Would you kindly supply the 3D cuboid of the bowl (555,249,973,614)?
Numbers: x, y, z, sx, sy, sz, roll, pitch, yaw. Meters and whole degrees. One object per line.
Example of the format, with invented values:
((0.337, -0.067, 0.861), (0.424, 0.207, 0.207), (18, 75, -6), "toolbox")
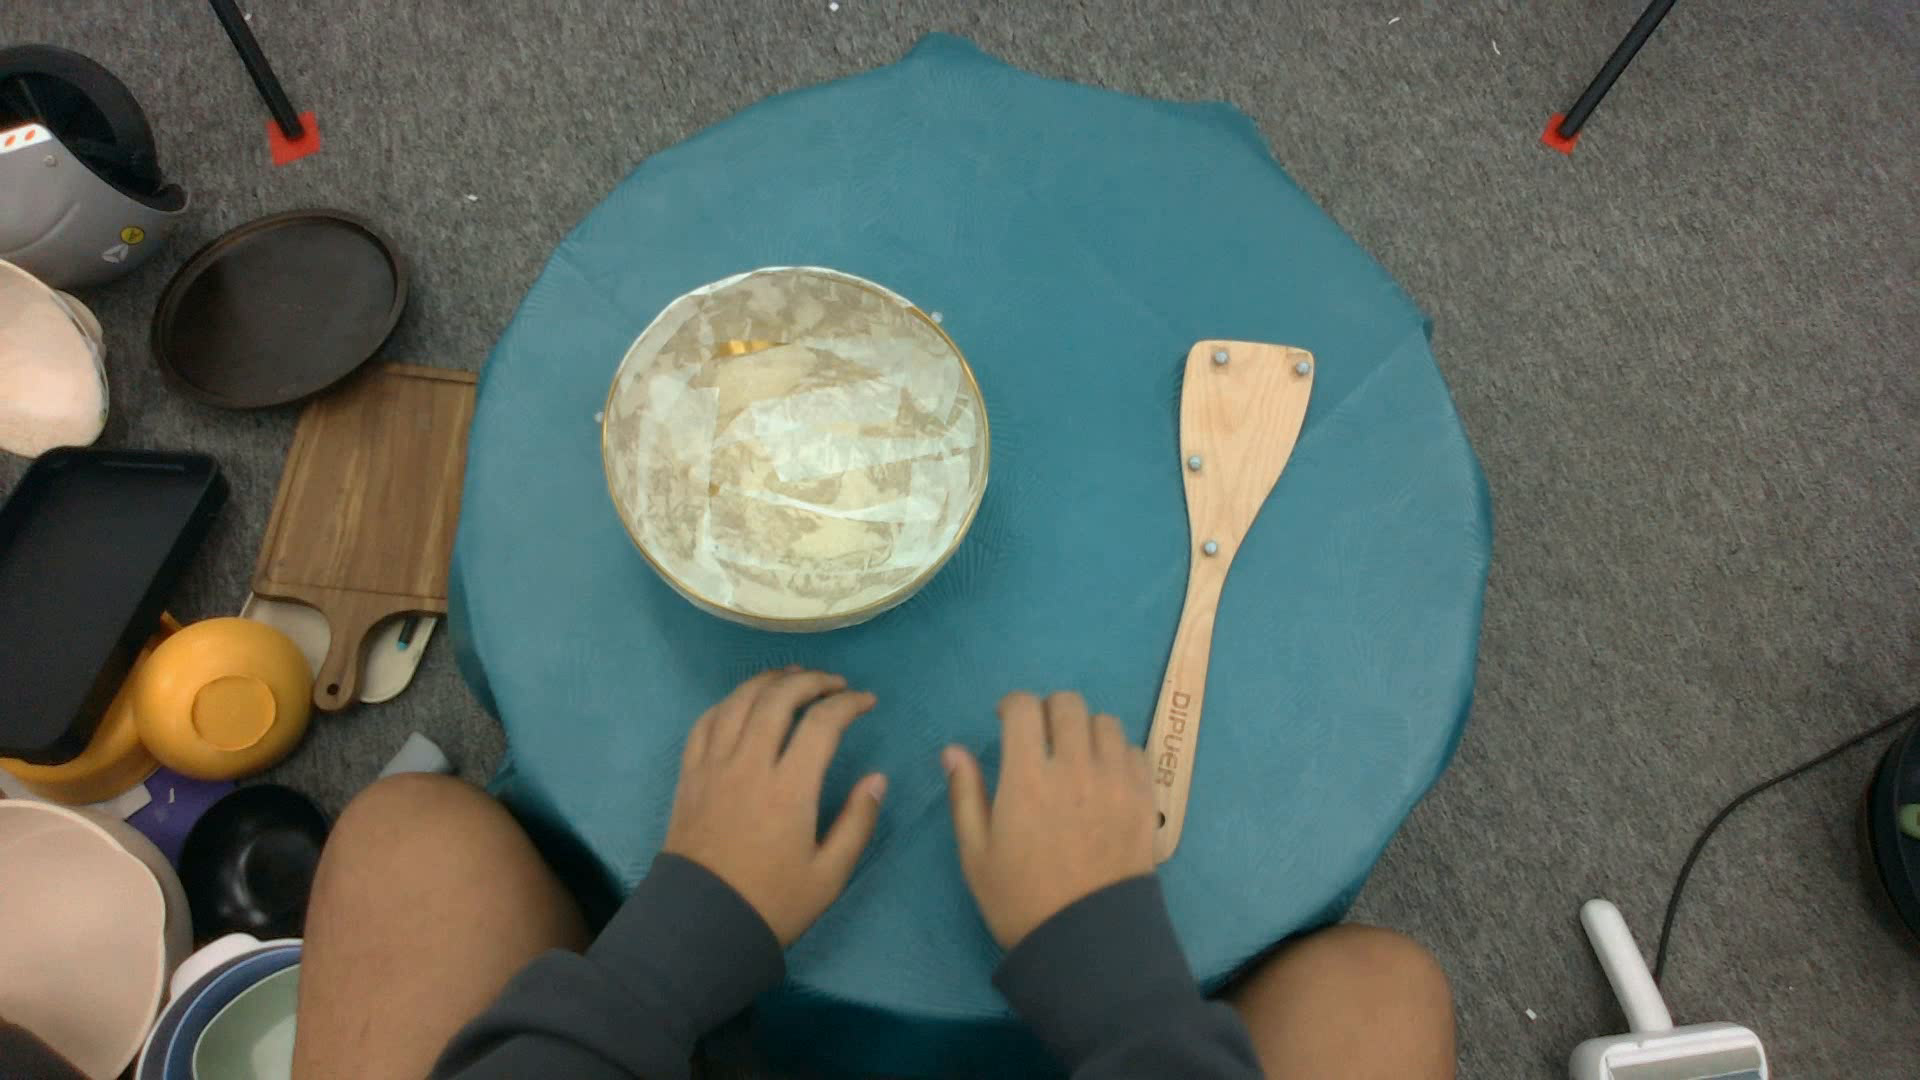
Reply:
((-0.101, -0.044, 0.744), (0.215, 0.094, 0.215), (3, 67, -7), "bowl")

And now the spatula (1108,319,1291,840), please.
((0.129, 0.011, 0.793), (0.080, 0.016, 0.329), (16, 68, -1), "spatula")
